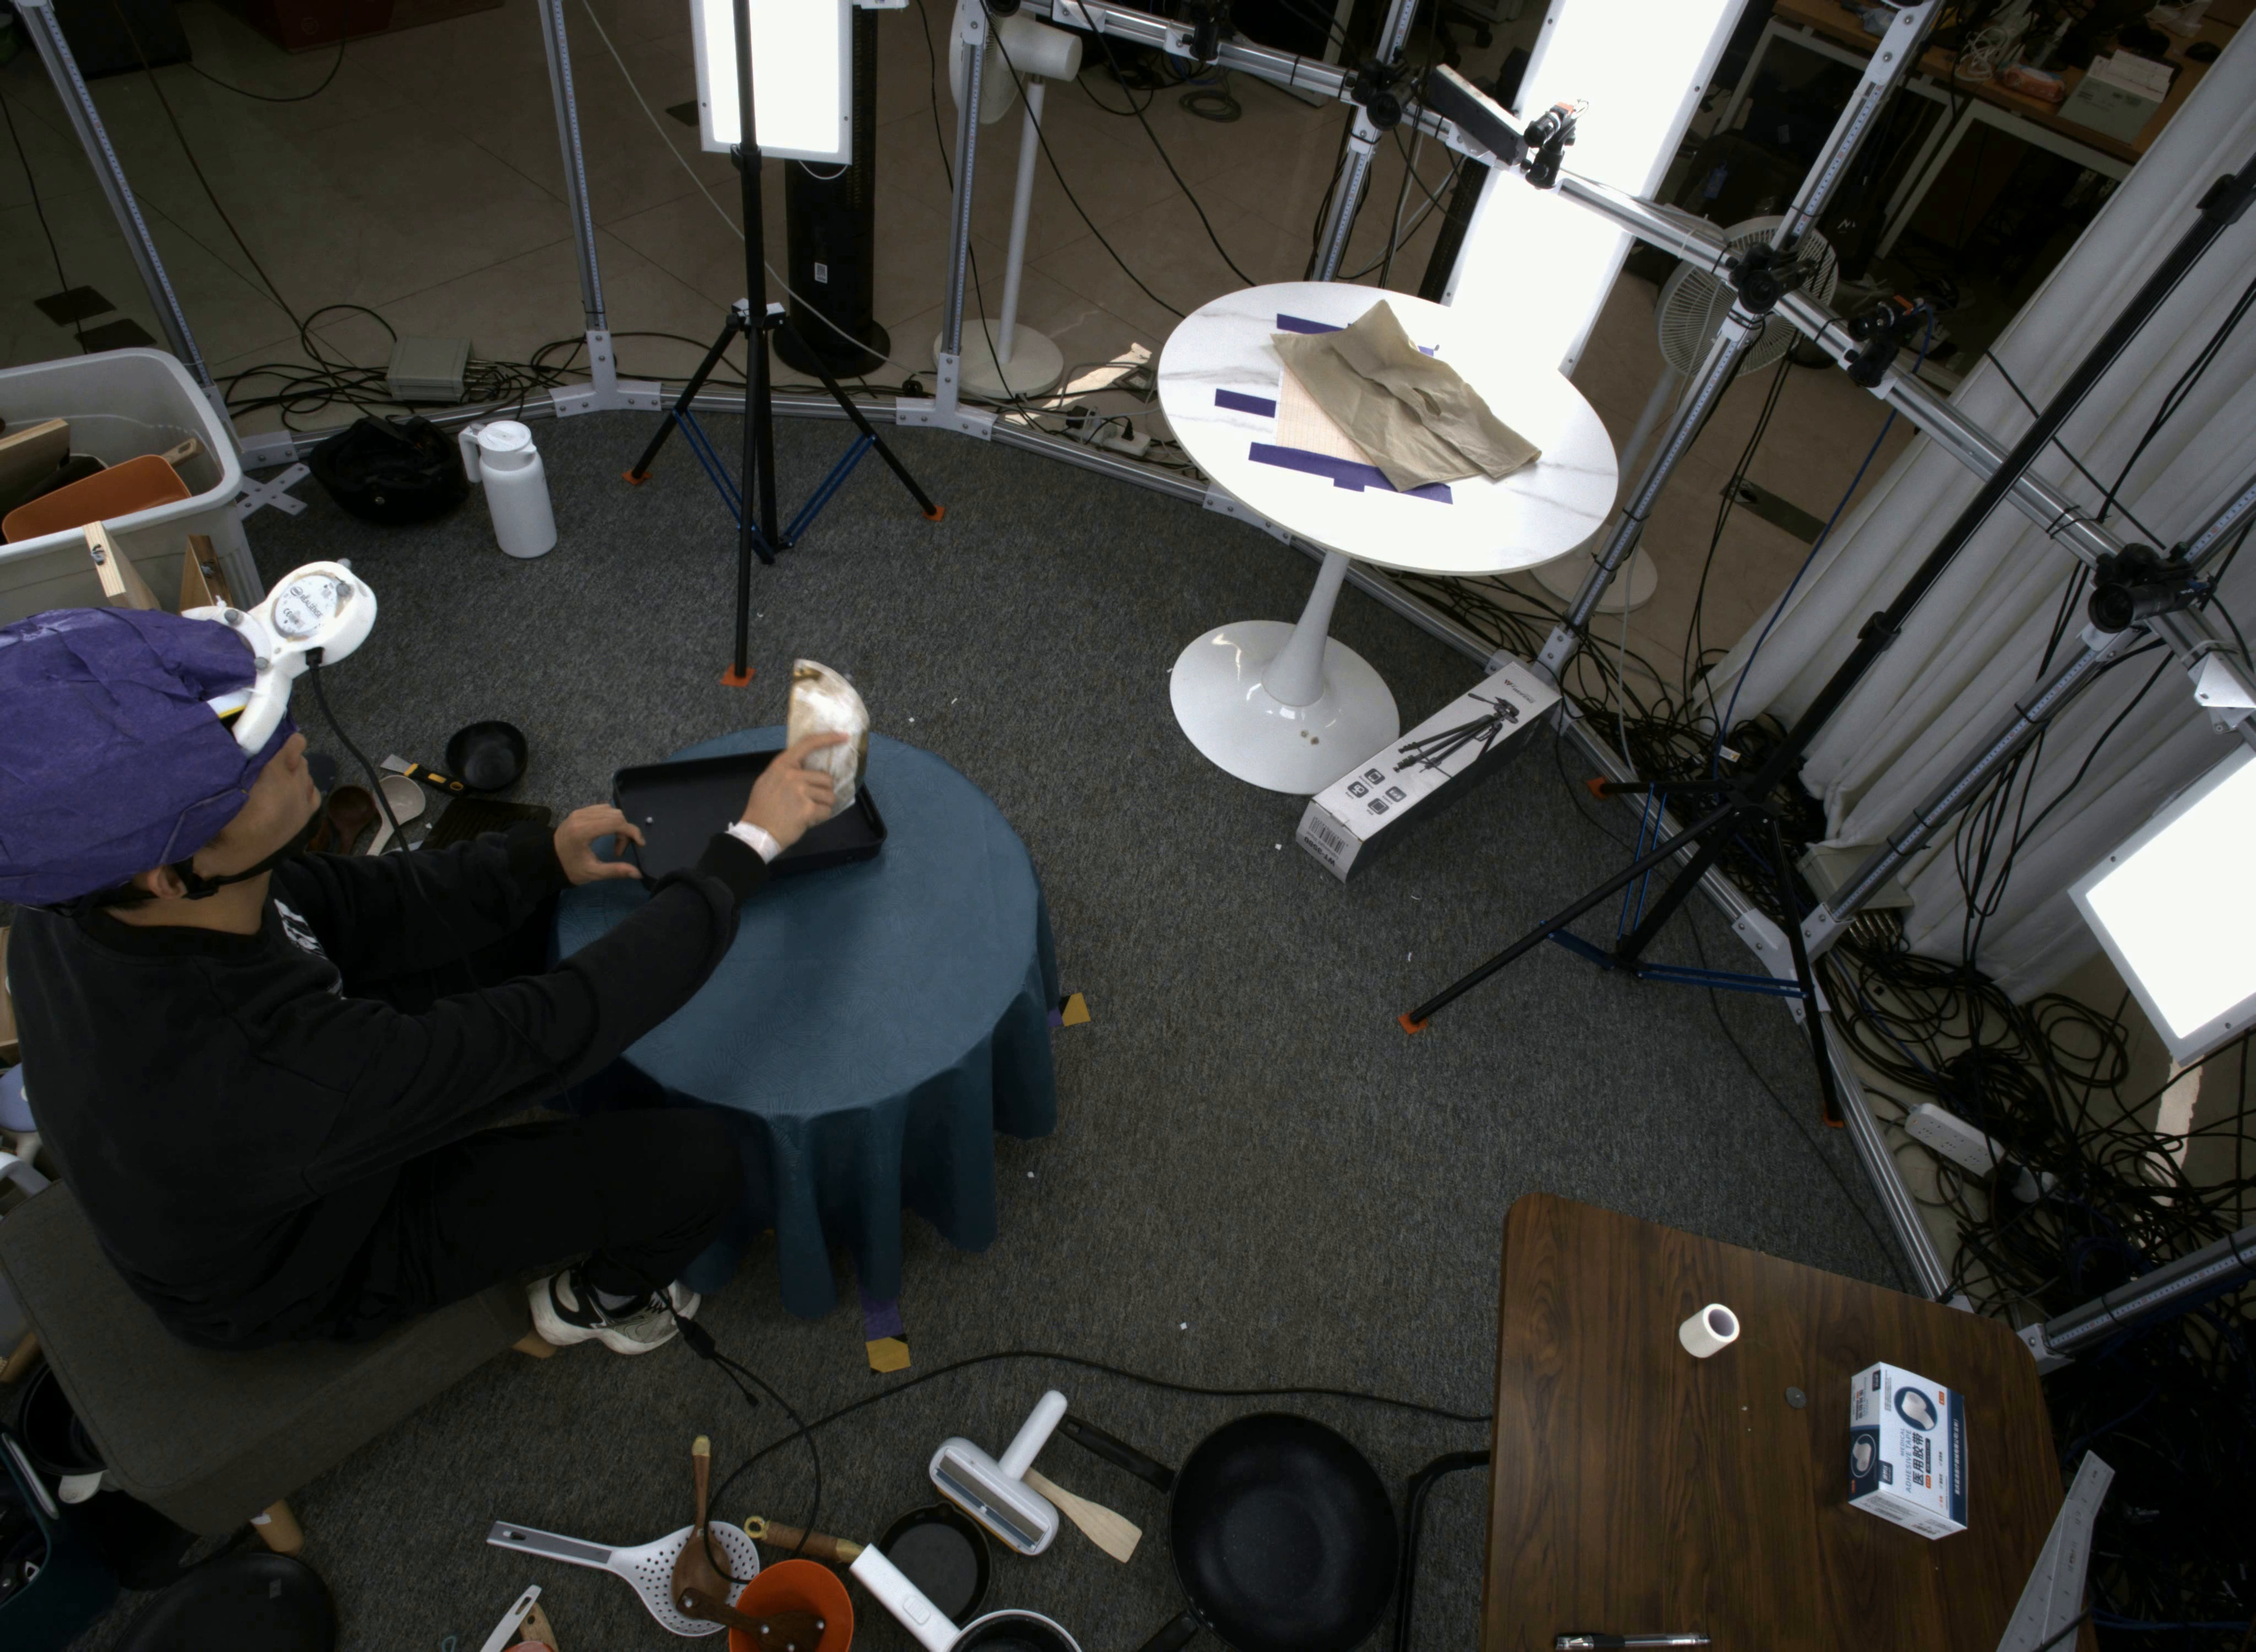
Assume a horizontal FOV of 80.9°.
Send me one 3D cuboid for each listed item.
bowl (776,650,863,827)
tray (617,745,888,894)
[{"bbox_3d":[-0.365,-0.099,1.551,0.094,0.219,0.210,4,52,-11],"label":"bowl"},{"bbox_3d":[-0.483,-0.019,1.663,0.321,0.037,0.180,-10,58,-32],"label":"tray"}]
